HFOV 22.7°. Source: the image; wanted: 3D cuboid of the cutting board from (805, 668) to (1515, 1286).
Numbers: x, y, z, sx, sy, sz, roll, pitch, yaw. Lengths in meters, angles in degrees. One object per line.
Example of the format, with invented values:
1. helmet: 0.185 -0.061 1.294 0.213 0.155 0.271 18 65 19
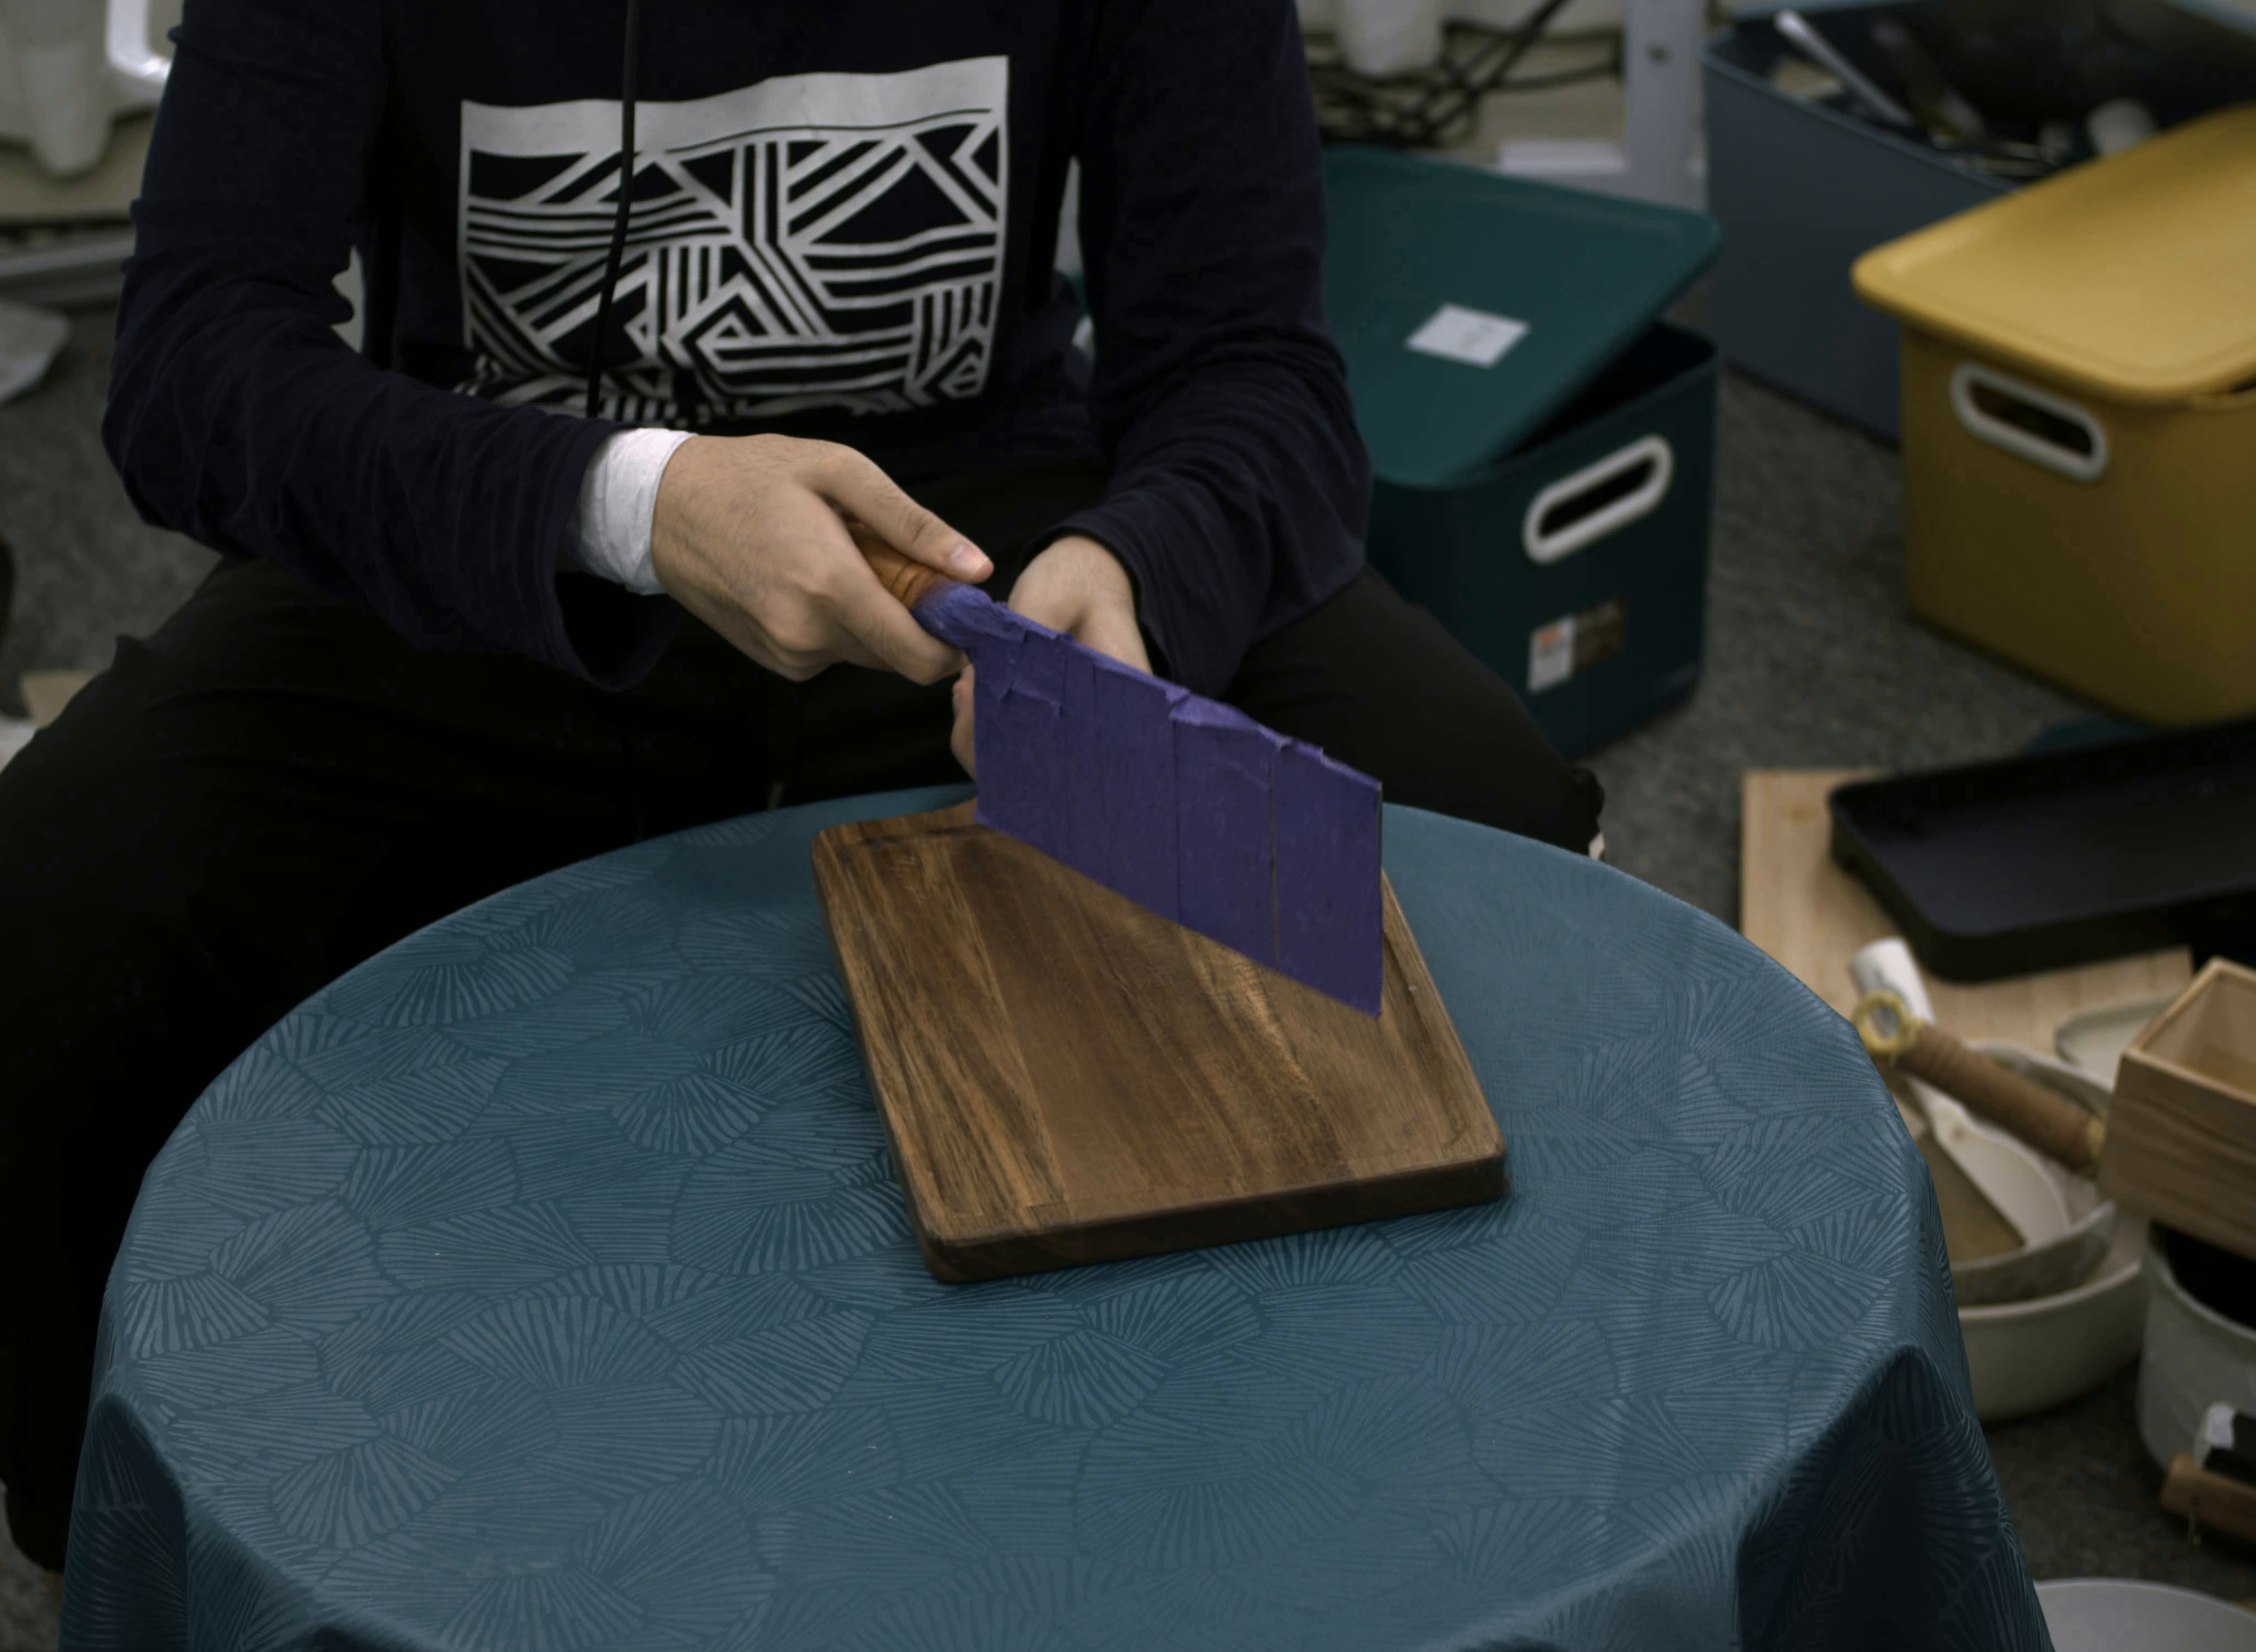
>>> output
1. cutting board: -0.004 0.036 1.969 0.201 0.023 0.357 -8 33 -9

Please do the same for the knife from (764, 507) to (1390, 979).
1. knife: -0.021 -0.028 1.953 0.032 0.103 0.315 -19 30 -35
